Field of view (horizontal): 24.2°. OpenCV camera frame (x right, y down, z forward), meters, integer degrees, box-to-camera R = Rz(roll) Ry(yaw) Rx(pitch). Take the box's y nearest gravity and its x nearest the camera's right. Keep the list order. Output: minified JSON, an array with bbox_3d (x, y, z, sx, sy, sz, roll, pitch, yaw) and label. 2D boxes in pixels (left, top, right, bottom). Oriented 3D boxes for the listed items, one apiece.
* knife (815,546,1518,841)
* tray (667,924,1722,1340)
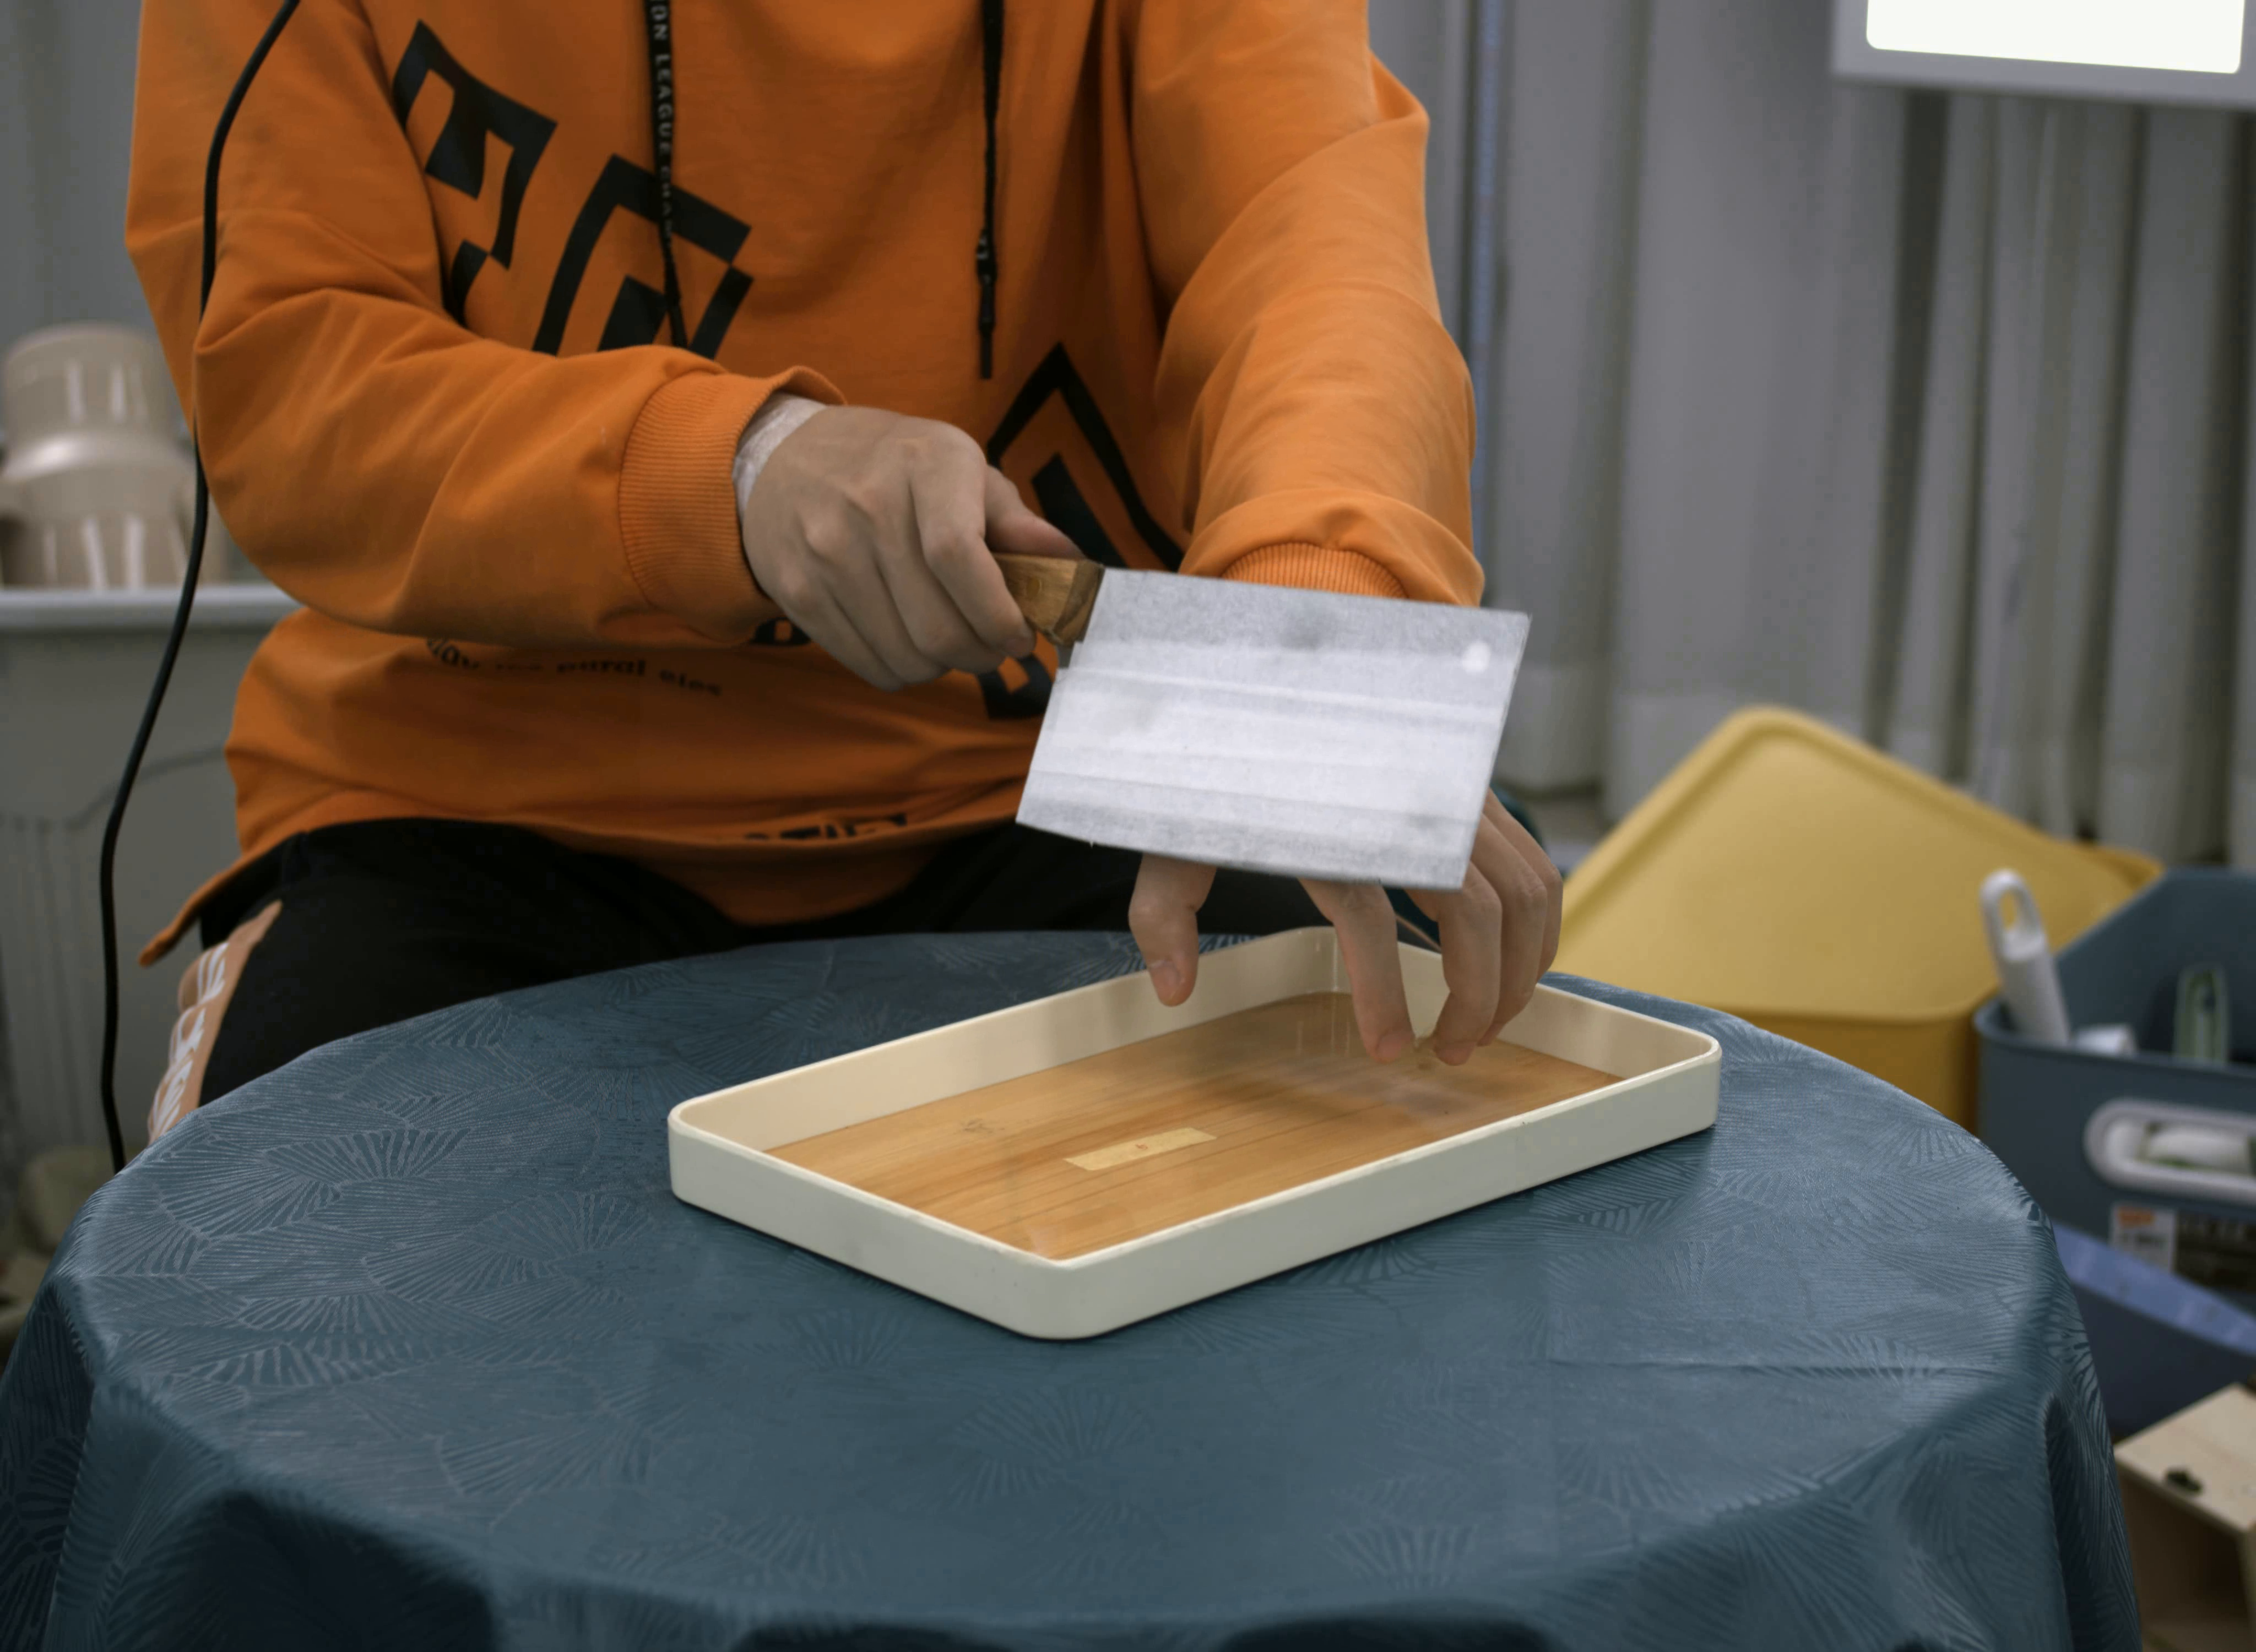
[{"bbox_3d":[0.002,-0.043,1.704,0.302,0.093,0.021,8,-8,42],"label":"knife"},{"bbox_3d":[0.024,0.091,1.649,0.302,0.027,0.189,-14,22,-42],"label":"tray"}]
